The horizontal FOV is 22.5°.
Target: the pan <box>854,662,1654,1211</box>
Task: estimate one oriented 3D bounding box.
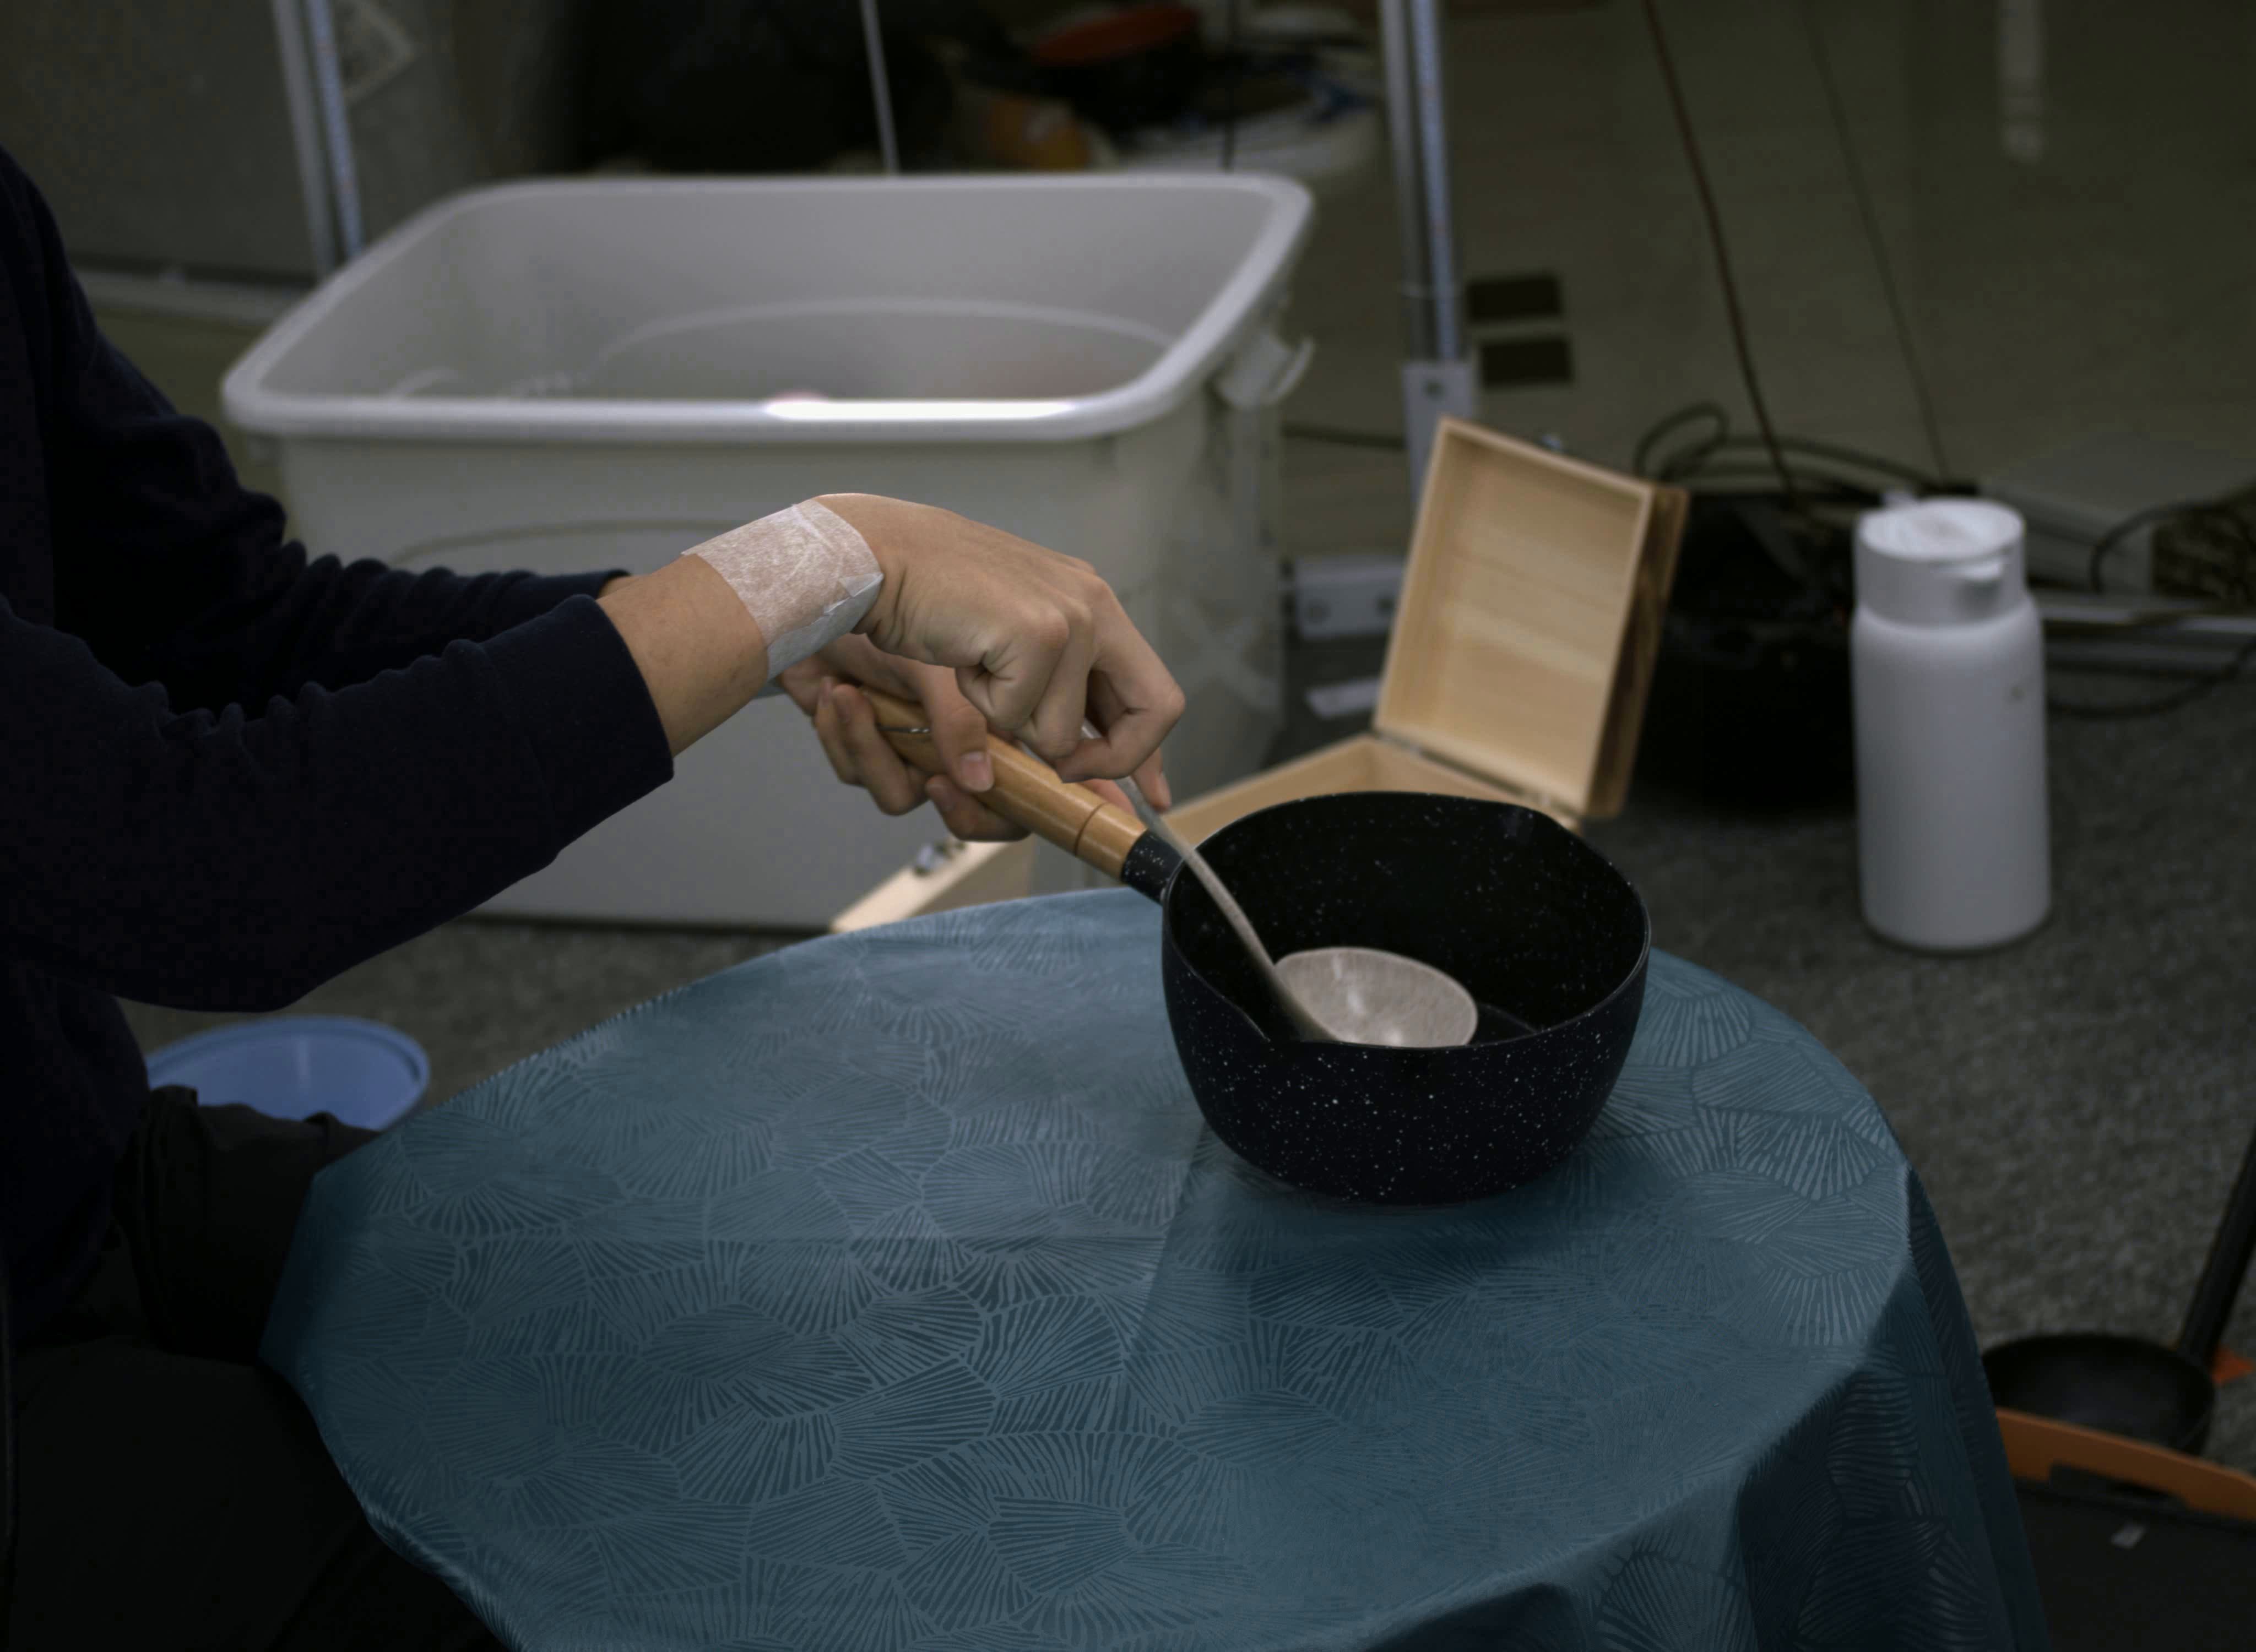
[{"bbox_3d":[0.036,0.035,2.174,0.340,0.110,0.205,20,37,25],"label":"pan"}]

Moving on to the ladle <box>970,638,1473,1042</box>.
[{"bbox_3d":[0.038,0.004,2.091,0.069,0.279,0.088,-34,38,4],"label":"ladle"}]
